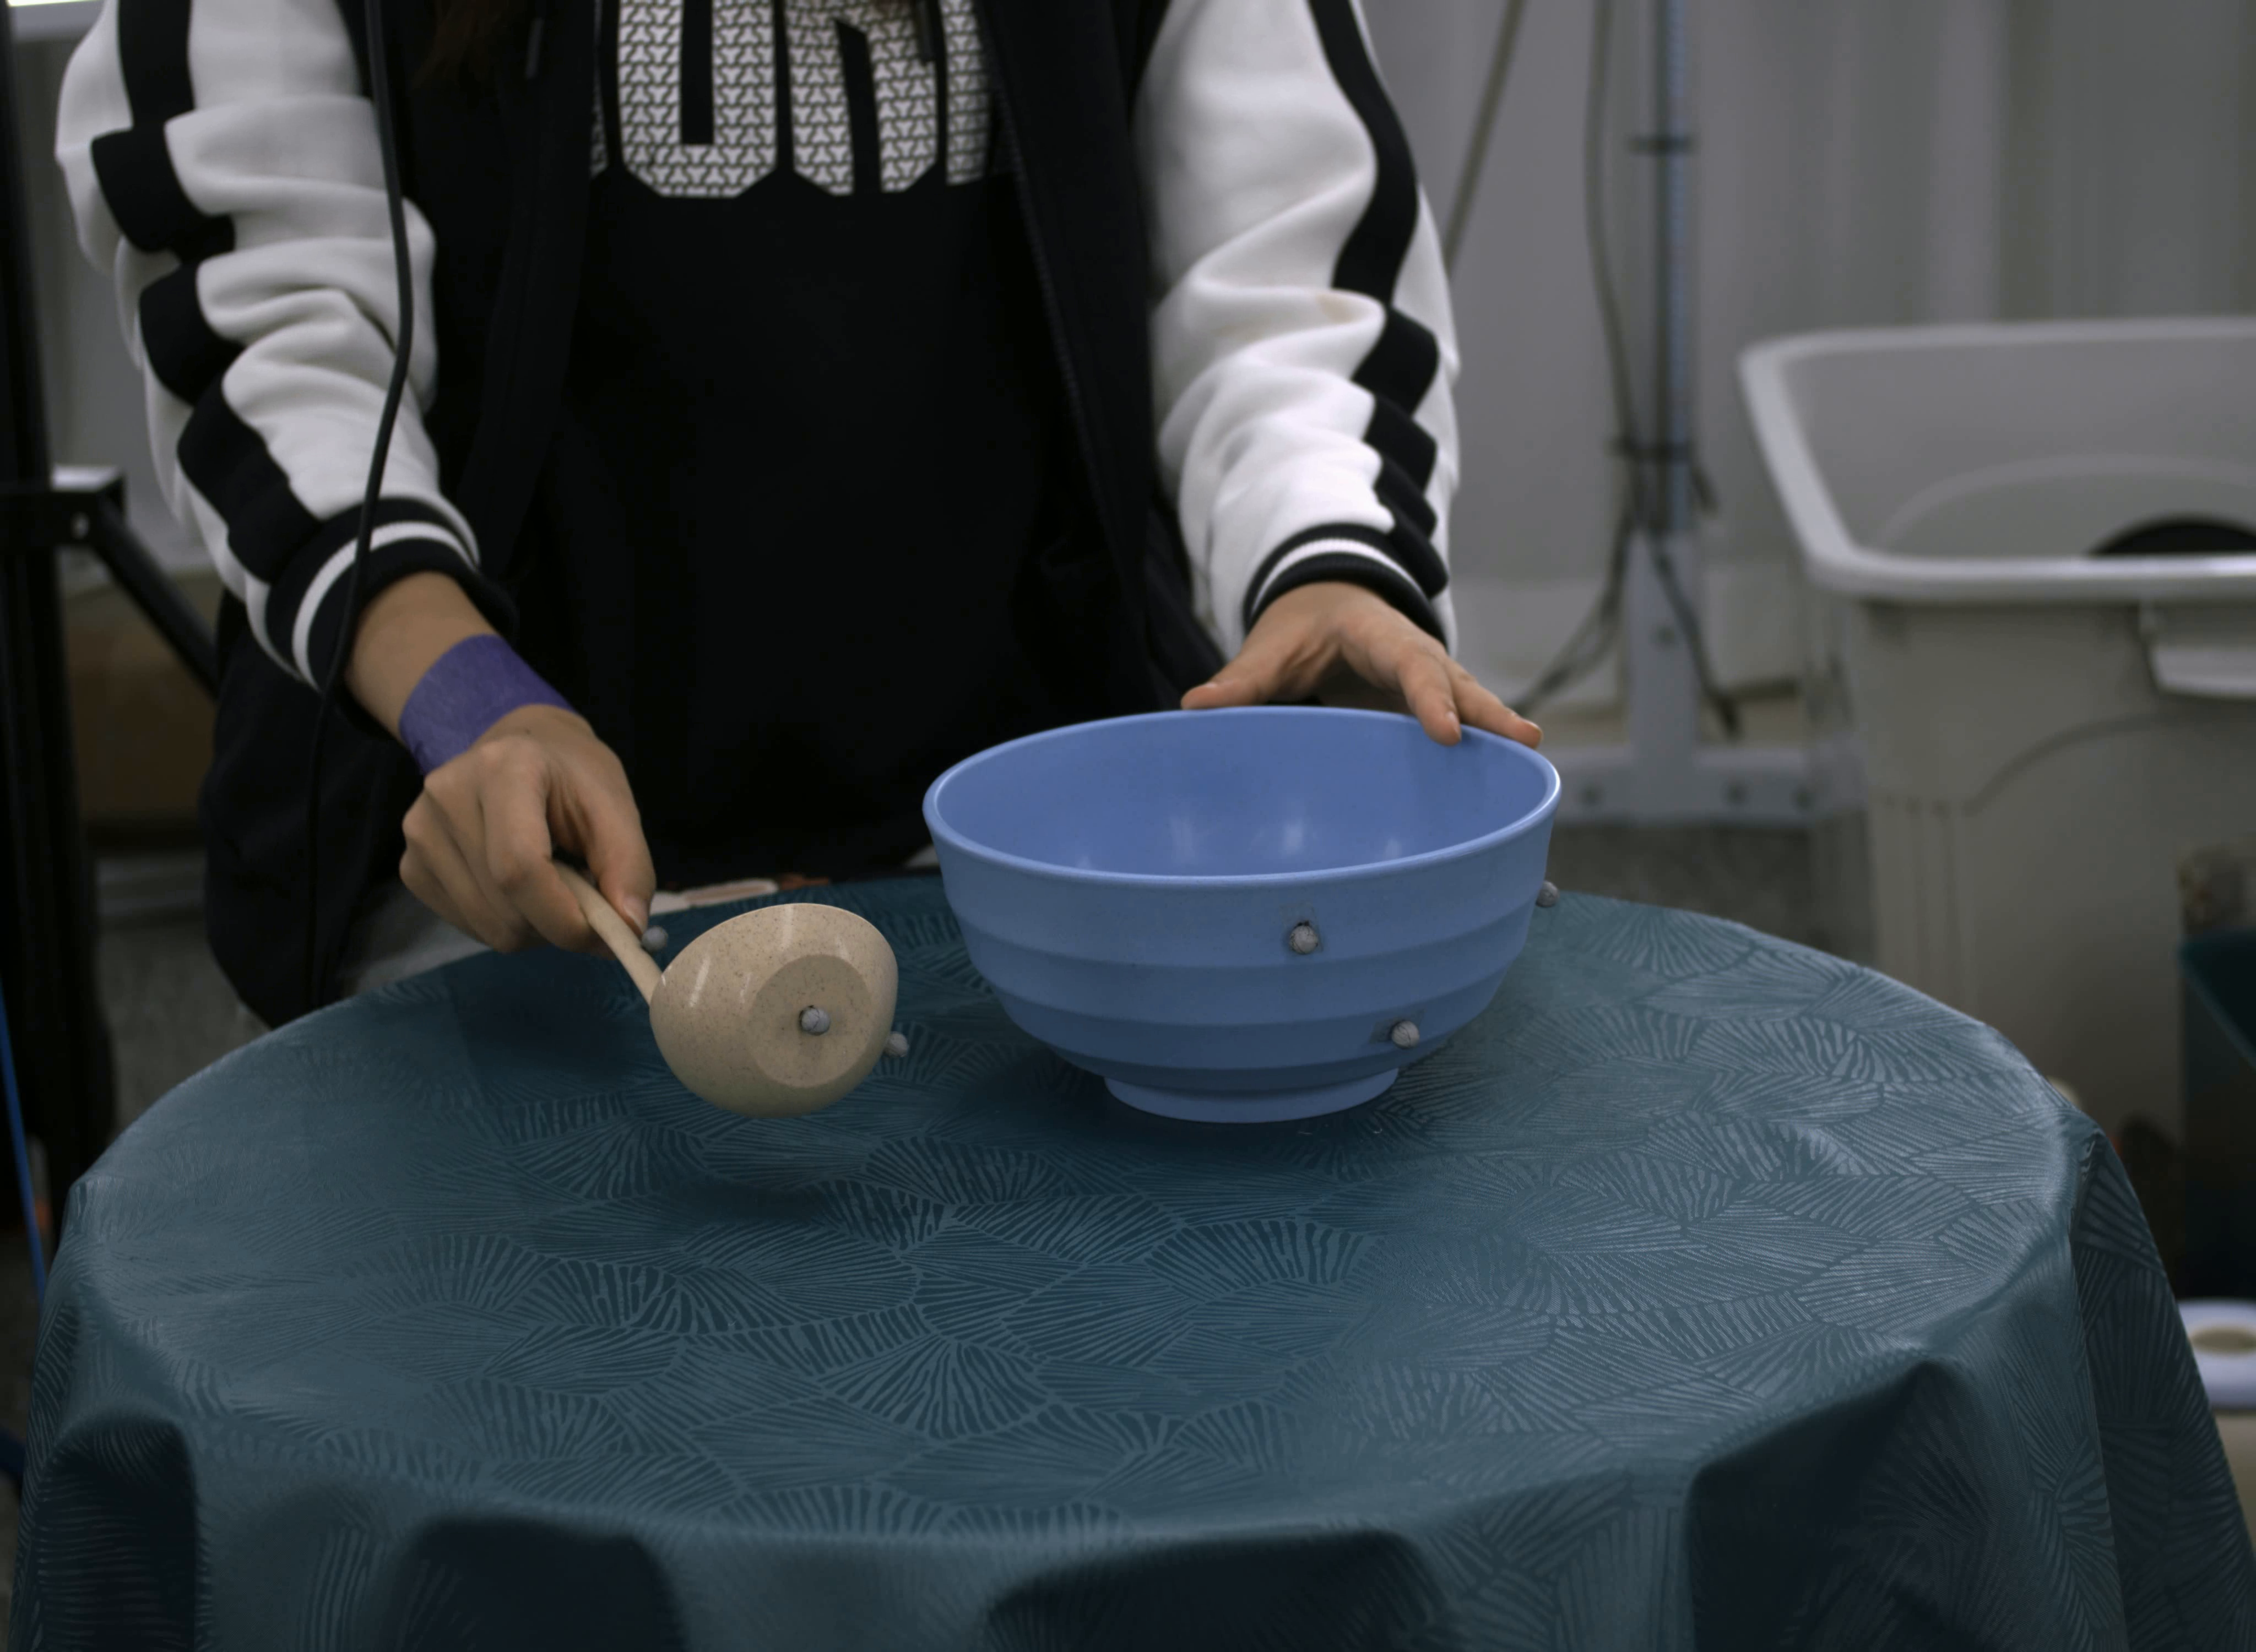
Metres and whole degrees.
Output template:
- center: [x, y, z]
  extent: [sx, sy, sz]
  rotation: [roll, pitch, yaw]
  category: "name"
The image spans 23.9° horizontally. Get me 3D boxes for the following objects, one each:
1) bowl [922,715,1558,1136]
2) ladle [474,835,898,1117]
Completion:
- center: [0.037, 0.036, 1.643]
  extent: [0.195, 0.095, 0.197]
  rotation: [-4, 15, 0]
  category: "bowl"
- center: [-0.143, 0.017, 1.636]
  extent: [0.070, 0.073, 0.260]
  rotation: [15, 12, -30]
  category: "ladle"
